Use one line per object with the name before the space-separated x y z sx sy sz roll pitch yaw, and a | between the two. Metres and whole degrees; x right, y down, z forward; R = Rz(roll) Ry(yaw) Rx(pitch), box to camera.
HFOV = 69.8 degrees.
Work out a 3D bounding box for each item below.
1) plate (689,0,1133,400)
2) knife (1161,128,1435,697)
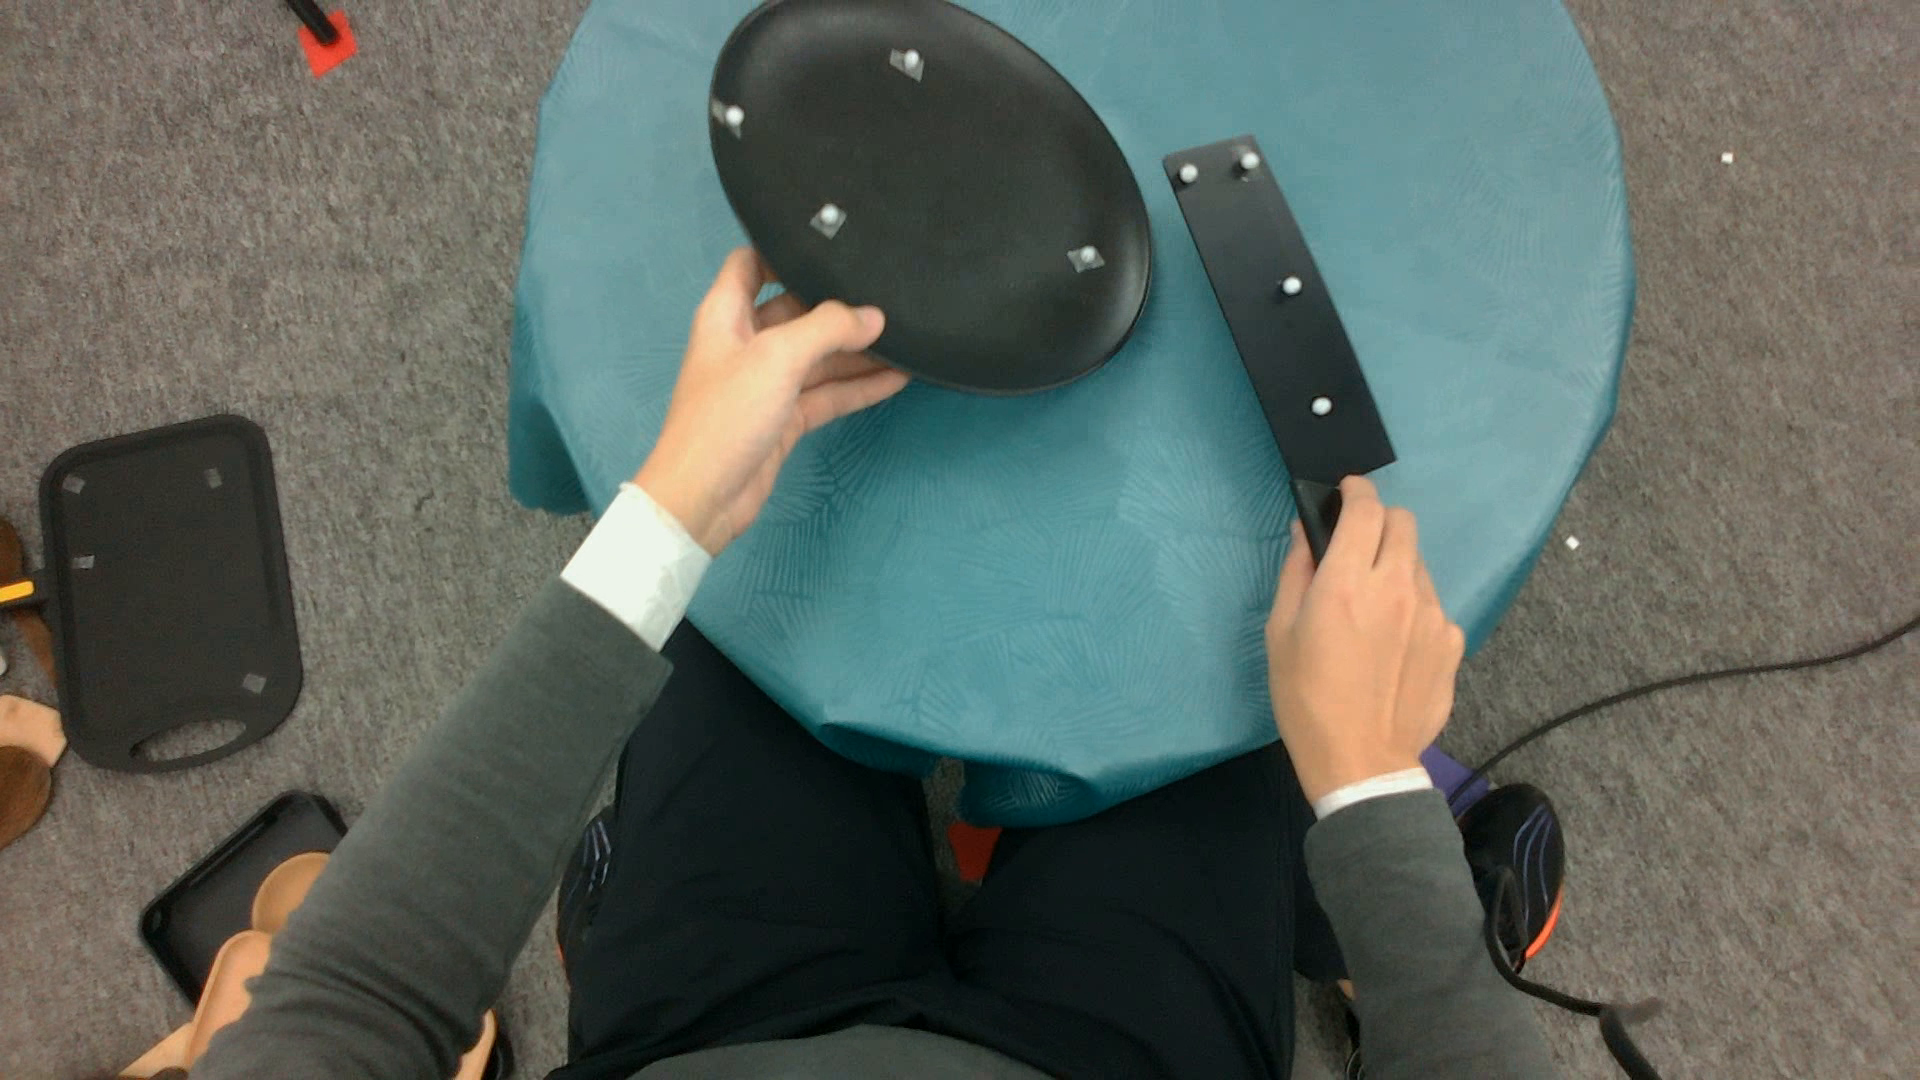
plate | -0.021 -0.175 0.701 0.244 0.023 0.245 12 61 -23
knife | 0.178 -0.065 0.691 0.081 0.021 0.302 -14 83 -17
